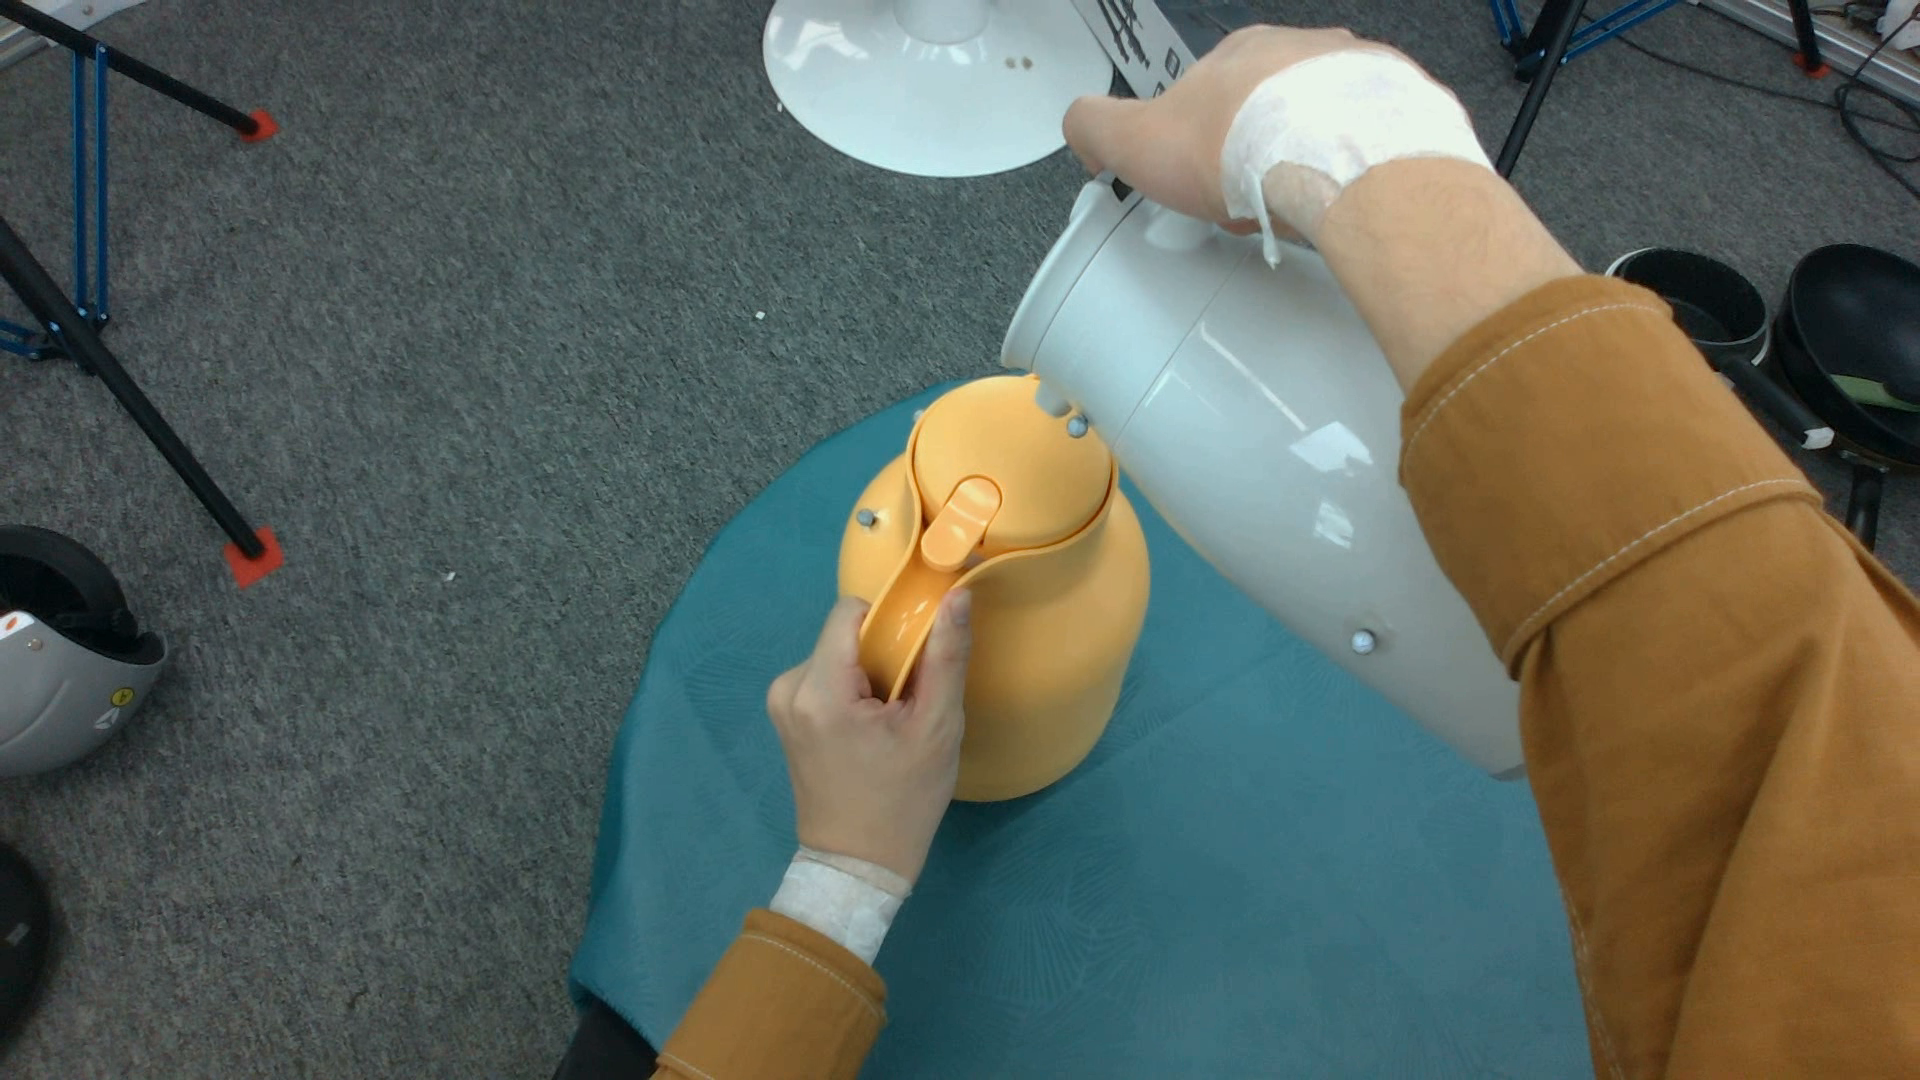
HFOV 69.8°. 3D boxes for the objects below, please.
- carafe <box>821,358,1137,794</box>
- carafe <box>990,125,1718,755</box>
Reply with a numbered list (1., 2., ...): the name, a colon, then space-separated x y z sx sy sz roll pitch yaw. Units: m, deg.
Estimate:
1. carafe: -0.003 0.031 0.708 0.163 0.259 0.203 31 60 15
2. carafe: 0.139 -0.055 0.508 0.248 0.167 0.133 36 49 7
